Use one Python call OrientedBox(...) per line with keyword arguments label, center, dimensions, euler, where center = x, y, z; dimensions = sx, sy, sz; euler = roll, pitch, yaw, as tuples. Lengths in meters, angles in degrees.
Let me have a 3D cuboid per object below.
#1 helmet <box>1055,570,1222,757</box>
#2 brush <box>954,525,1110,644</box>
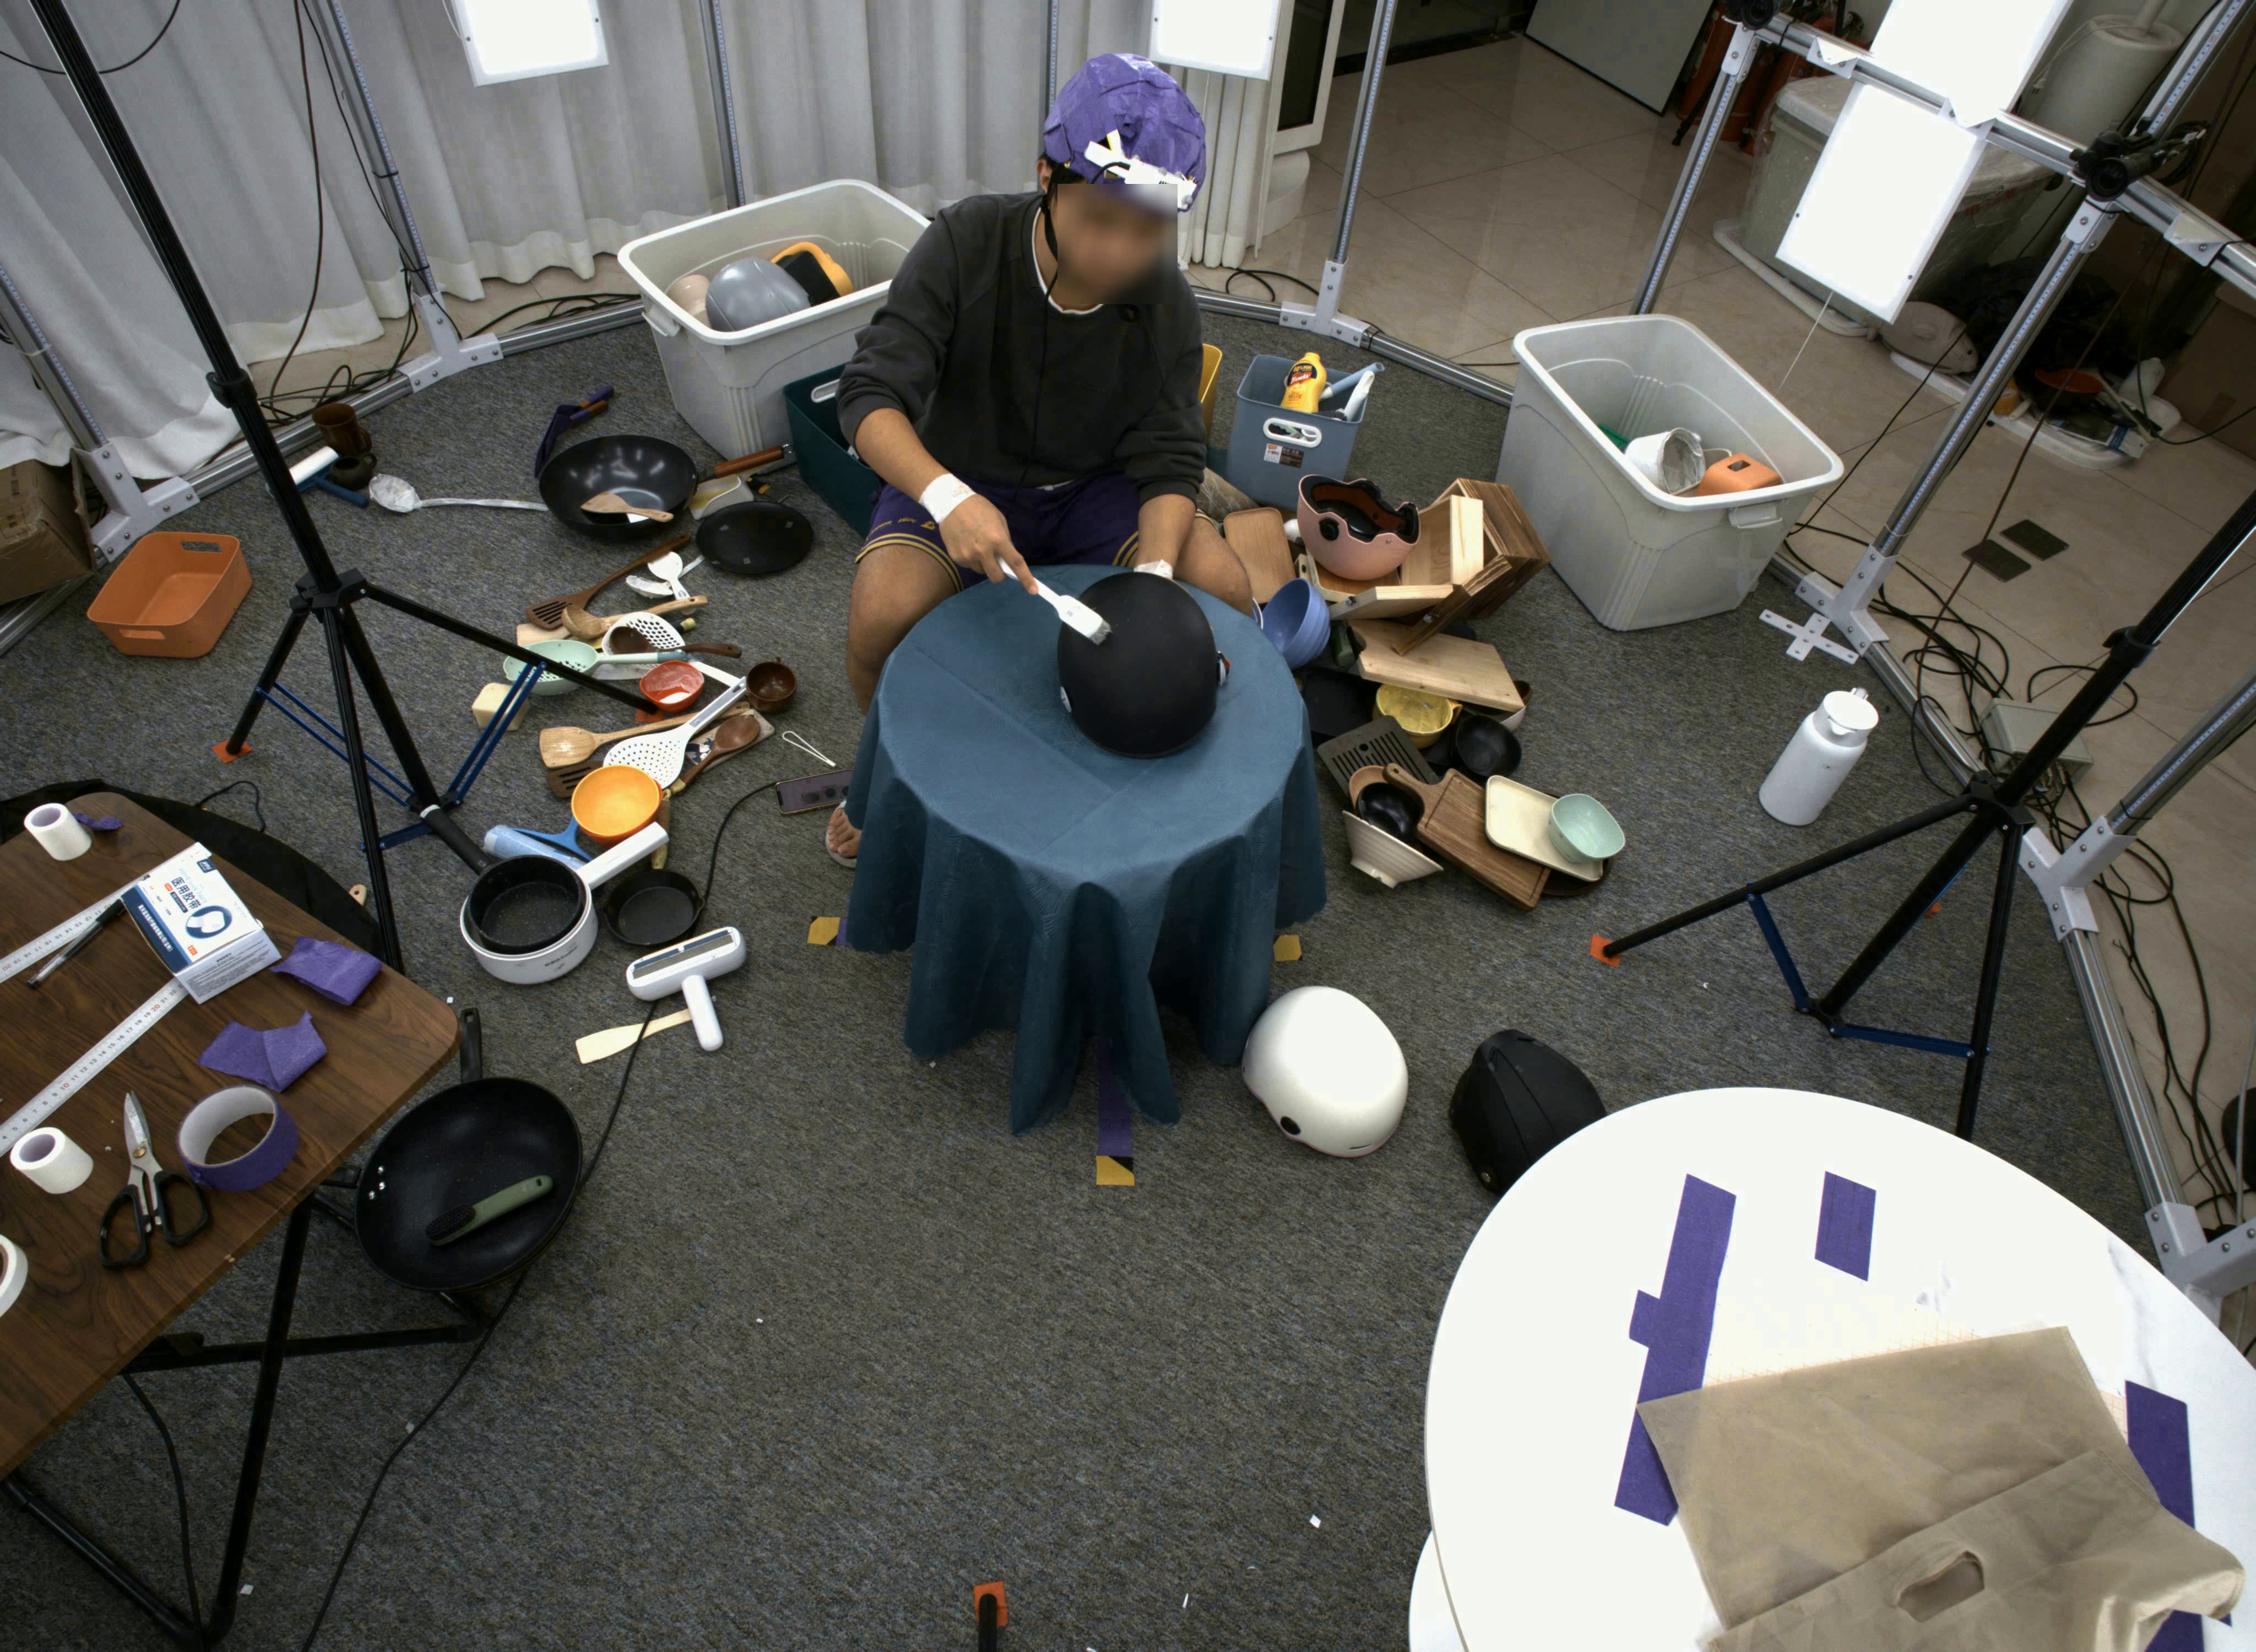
OrientedBox(label="helmet", center=(0.010, -0.245, 1.768), dimensions=(0.230, 0.163, 0.280), euler=(-9, 54, -1))
OrientedBox(label="brush", center=(-0.128, -0.321, 1.707), dimensions=(0.245, 0.050, 0.034), euler=(36, 89, 12))
